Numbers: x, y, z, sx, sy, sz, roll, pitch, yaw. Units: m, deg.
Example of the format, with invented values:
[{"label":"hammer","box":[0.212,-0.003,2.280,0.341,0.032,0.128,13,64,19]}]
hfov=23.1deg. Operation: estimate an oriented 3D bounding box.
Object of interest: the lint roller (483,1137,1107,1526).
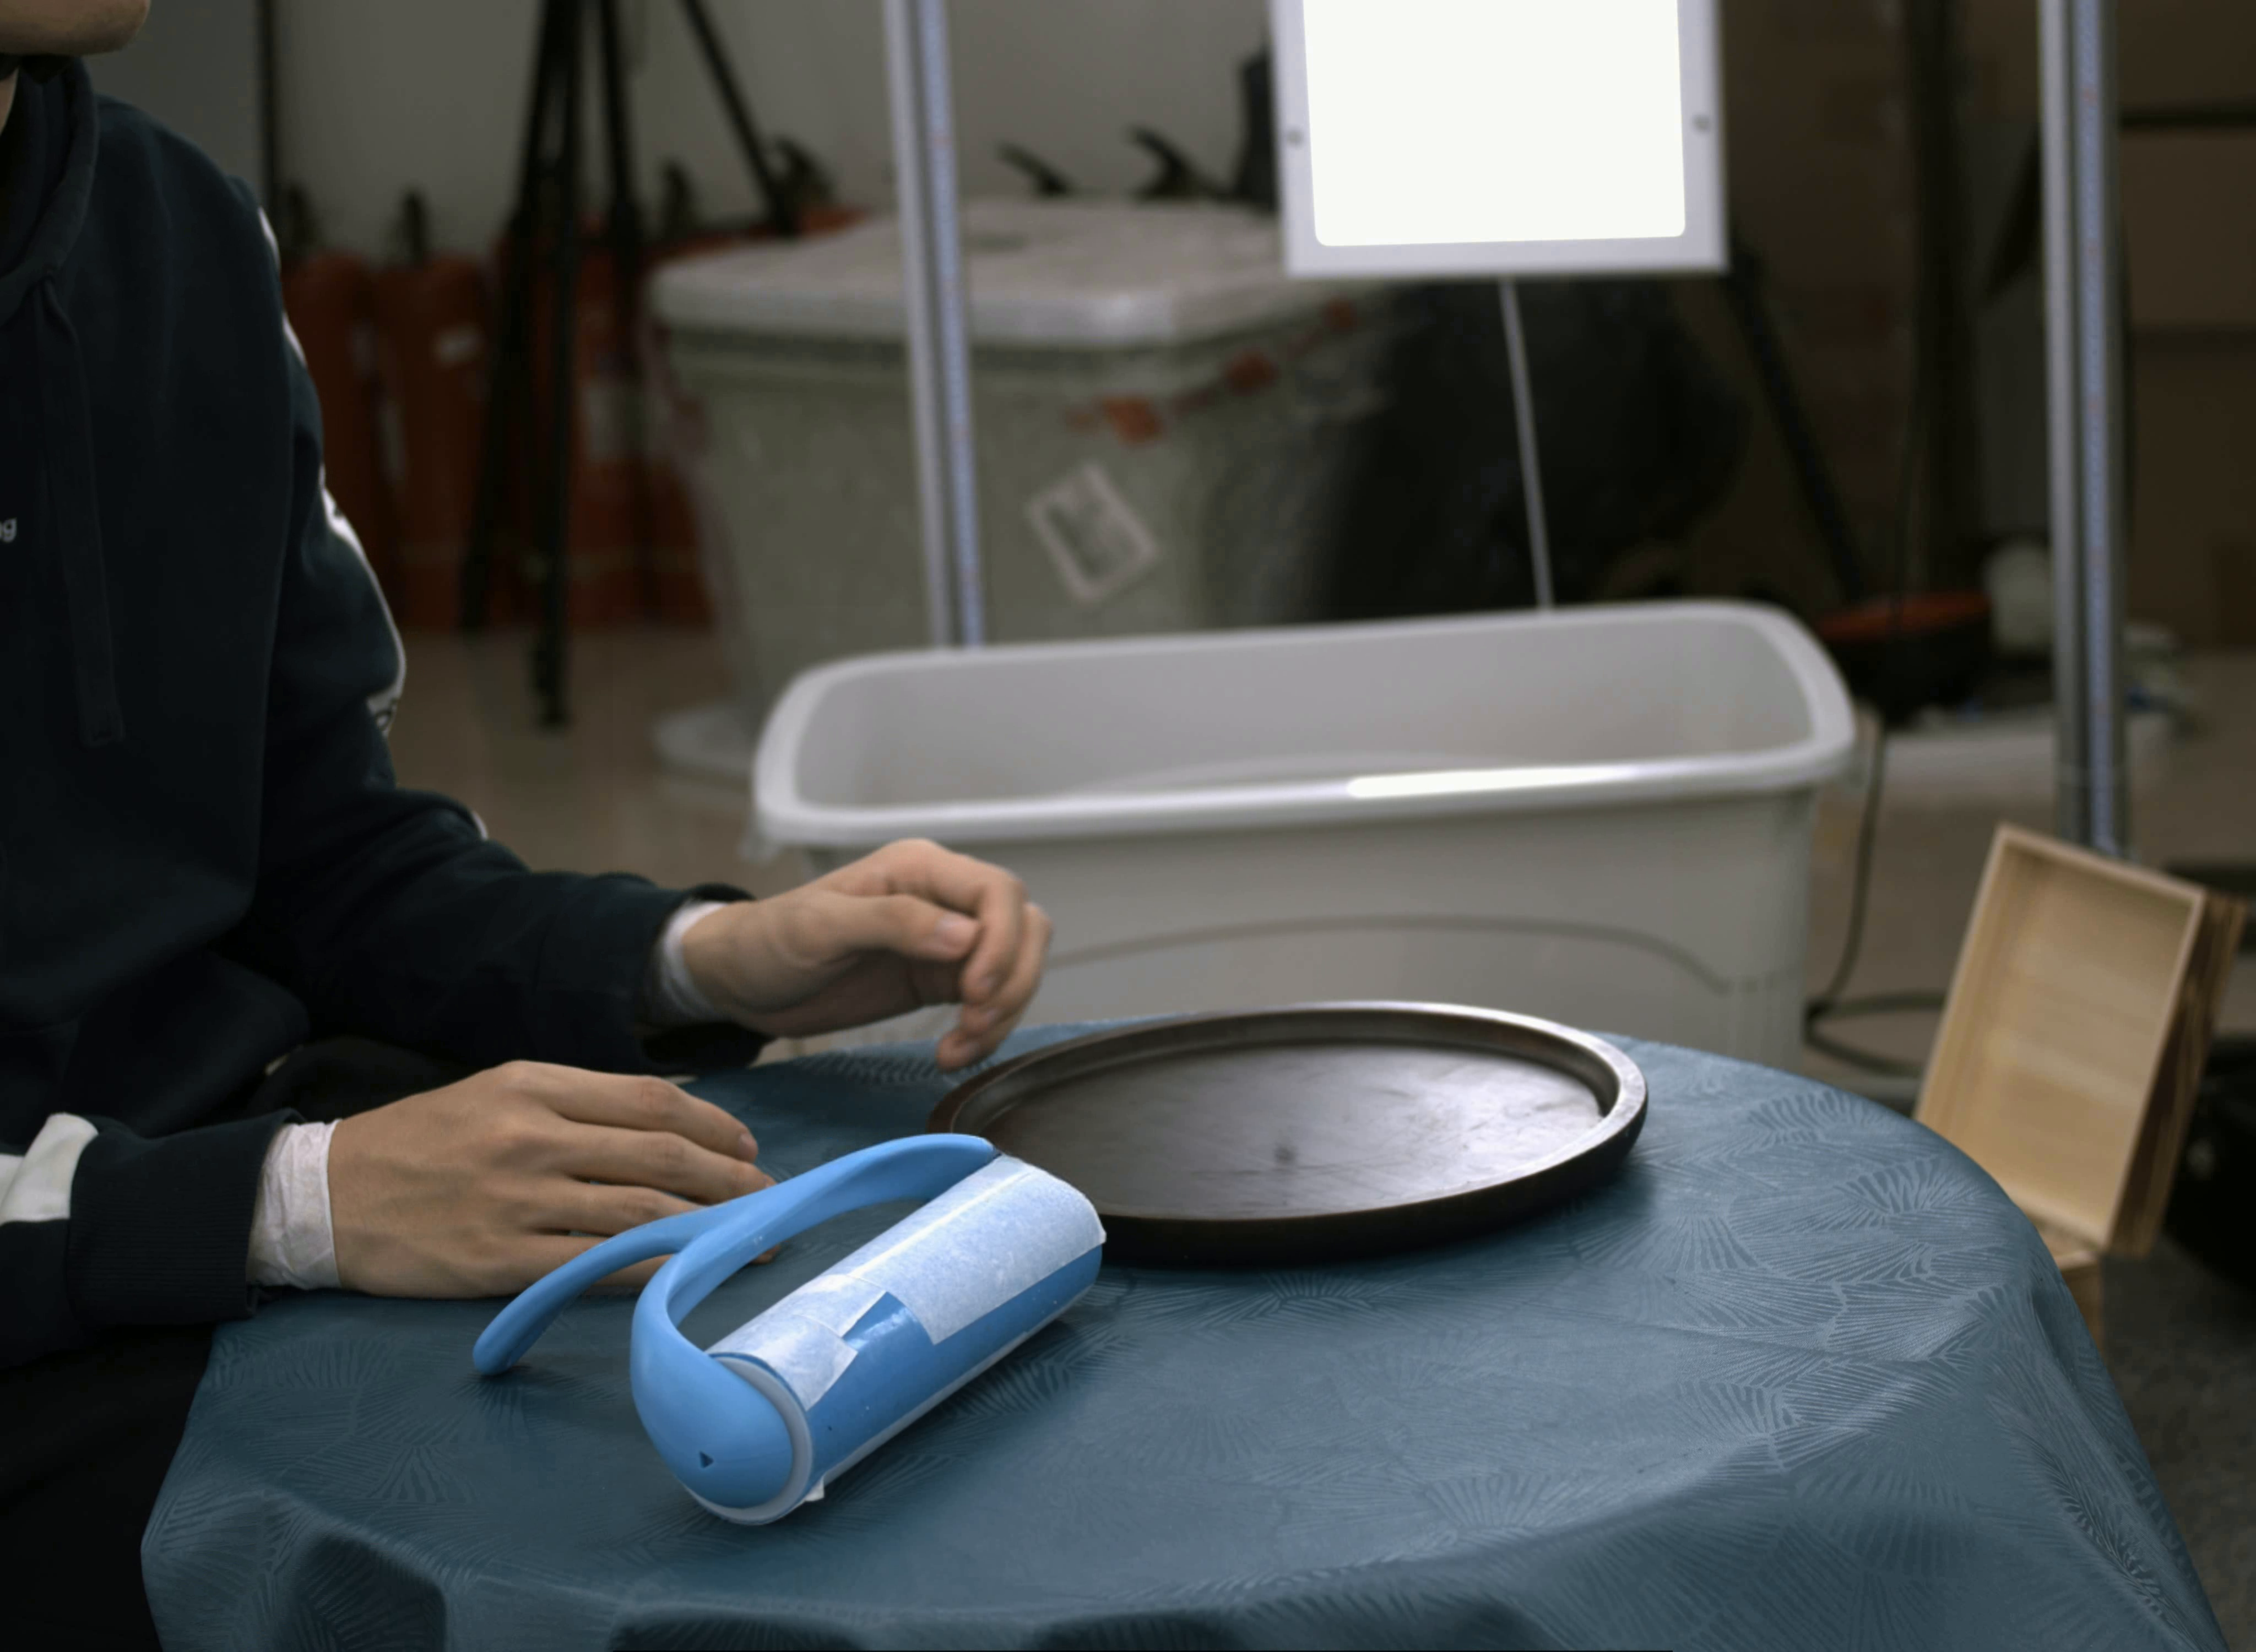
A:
[{"label":"lint roller","box":[-0.125,0.152,1.716,0.183,0.068,0.224,2,17,24]}]

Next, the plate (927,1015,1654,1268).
[{"label":"plate","box":[0.056,0.107,1.907,0.254,0.029,0.254,-4,14,0]}]
